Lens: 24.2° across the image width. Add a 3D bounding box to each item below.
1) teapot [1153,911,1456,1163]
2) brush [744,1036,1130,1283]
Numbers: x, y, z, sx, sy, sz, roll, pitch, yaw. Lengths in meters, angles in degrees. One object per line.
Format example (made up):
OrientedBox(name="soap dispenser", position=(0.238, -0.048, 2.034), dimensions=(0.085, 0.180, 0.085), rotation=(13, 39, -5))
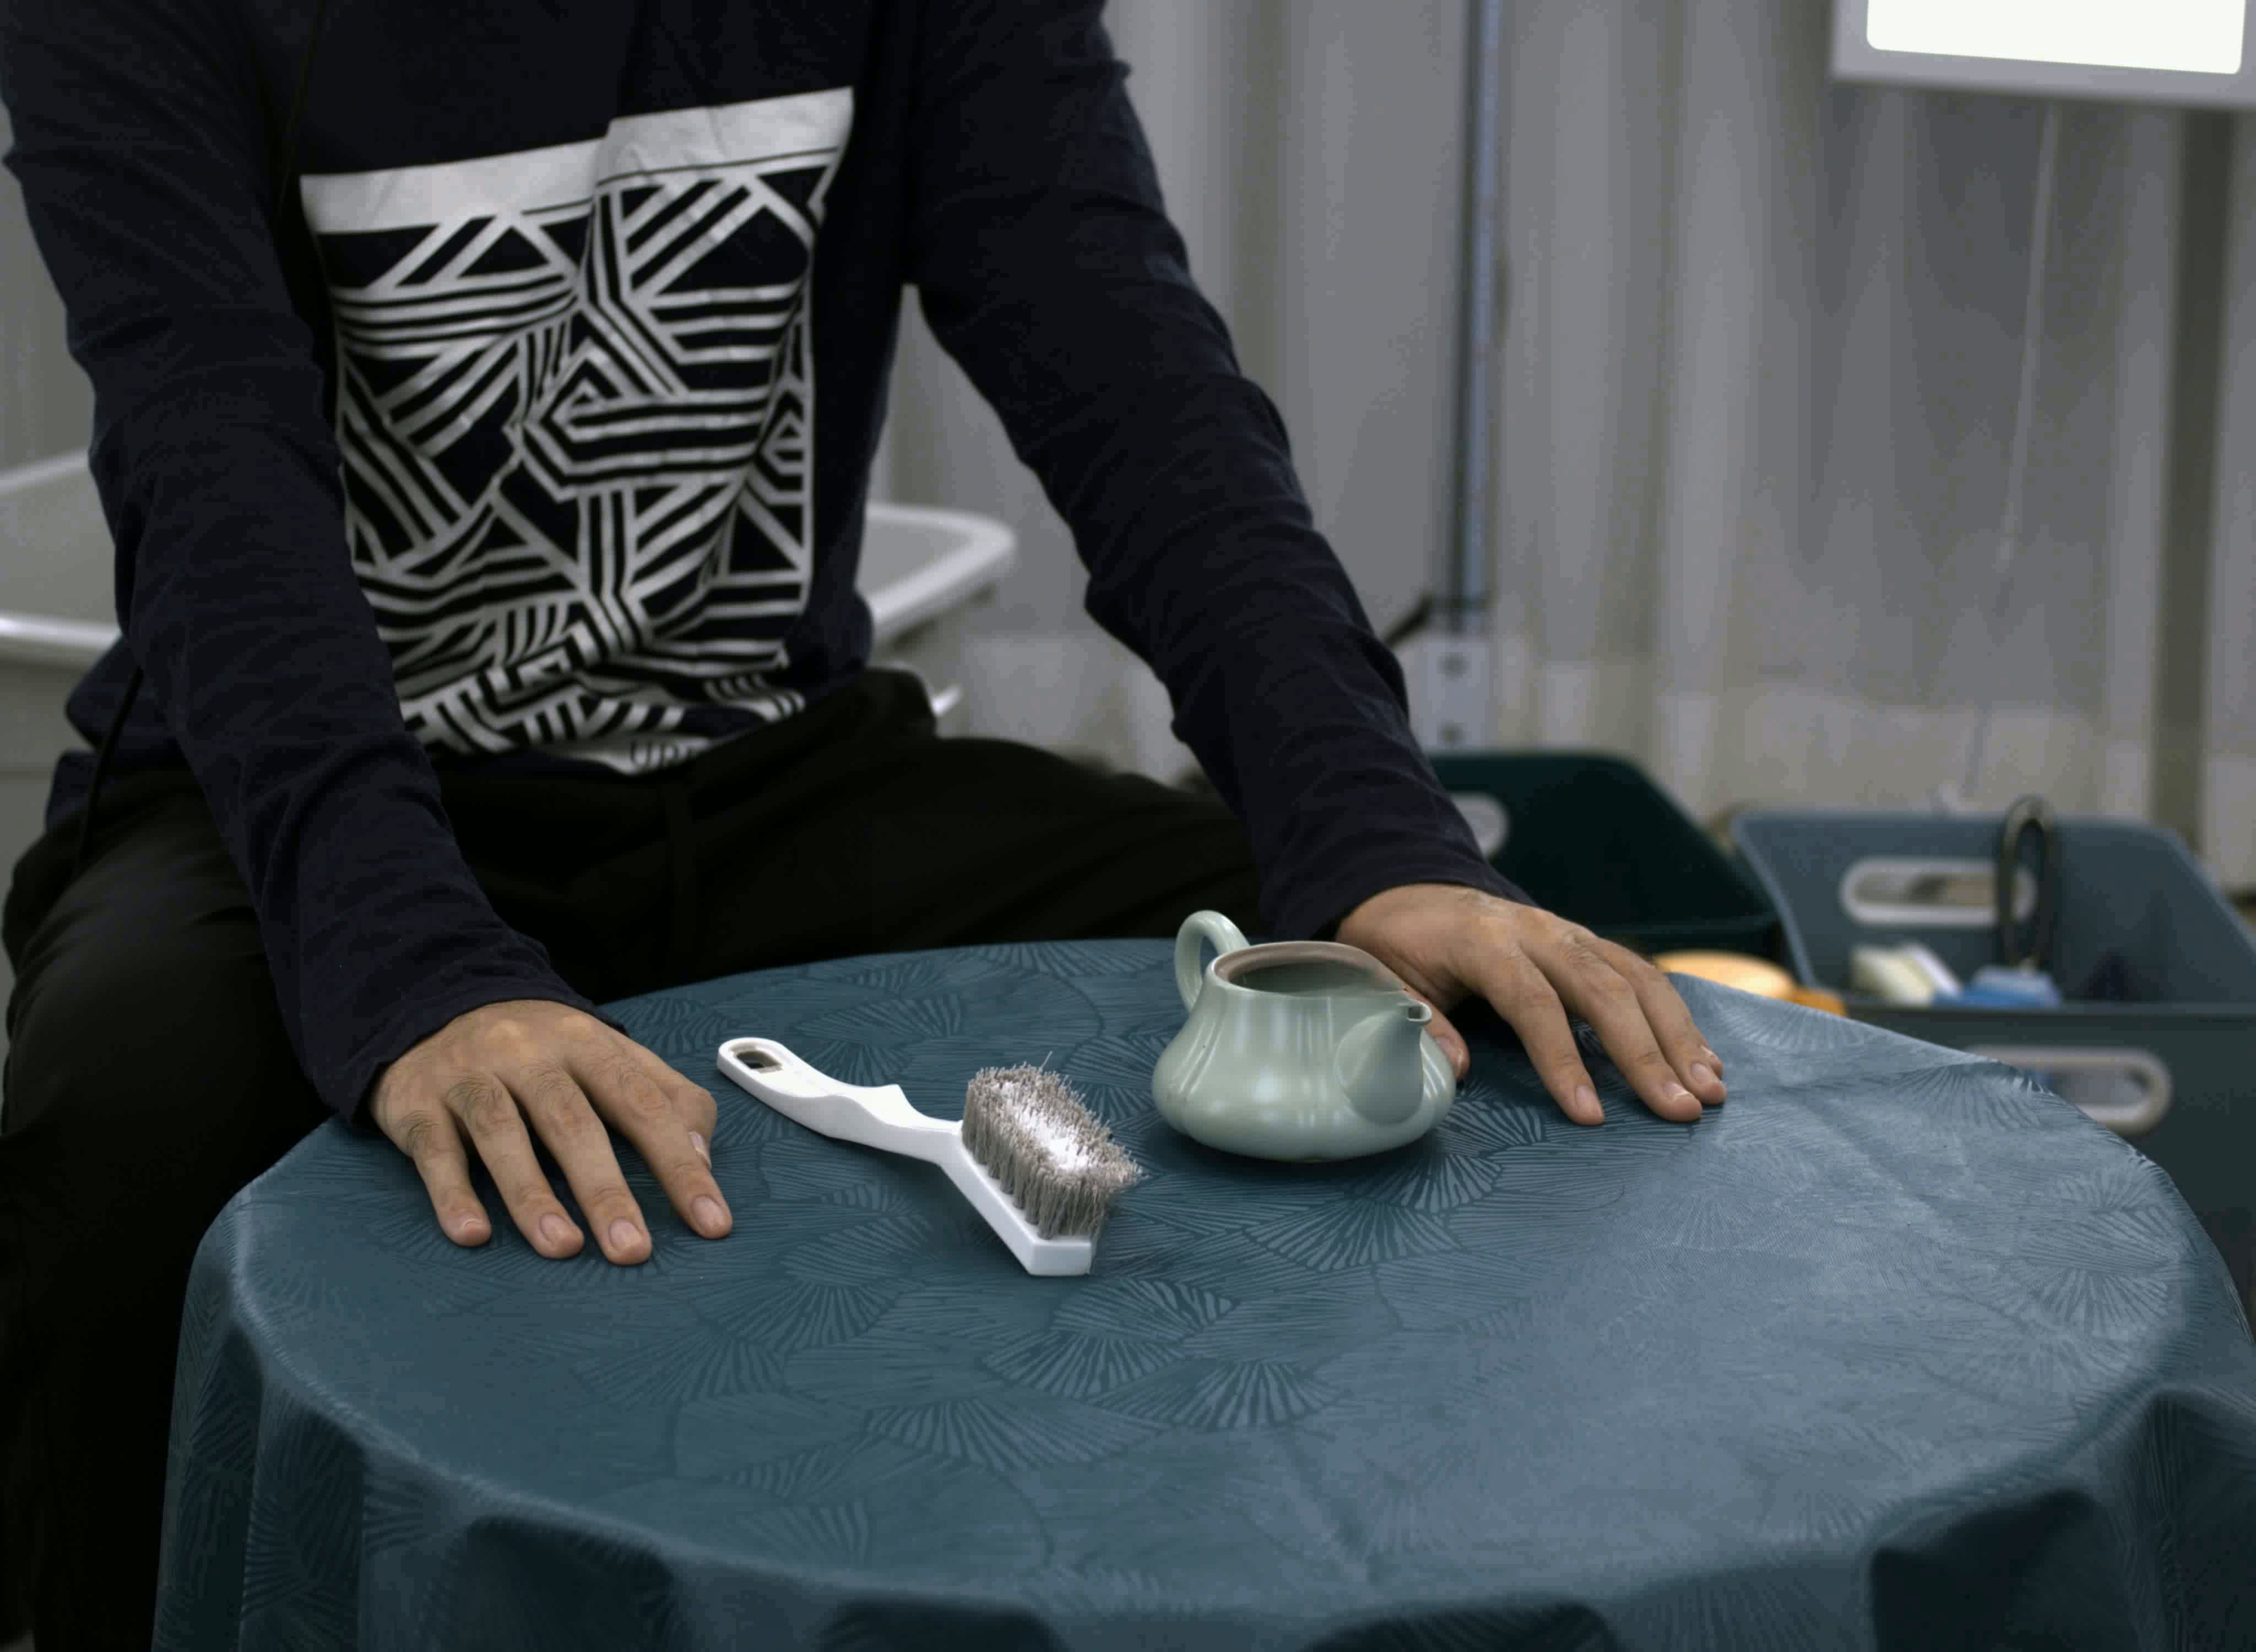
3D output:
OrientedBox(name="teapot", position=(0.053, 0.069, 1.672), dimensions=(0.096, 0.062, 0.135), rotation=(-14, 21, -33))
OrientedBox(name="brush", position=(-0.066, 0.084, 1.639), dimensions=(0.034, 0.050, 0.240), rotation=(-12, 20, -25))
